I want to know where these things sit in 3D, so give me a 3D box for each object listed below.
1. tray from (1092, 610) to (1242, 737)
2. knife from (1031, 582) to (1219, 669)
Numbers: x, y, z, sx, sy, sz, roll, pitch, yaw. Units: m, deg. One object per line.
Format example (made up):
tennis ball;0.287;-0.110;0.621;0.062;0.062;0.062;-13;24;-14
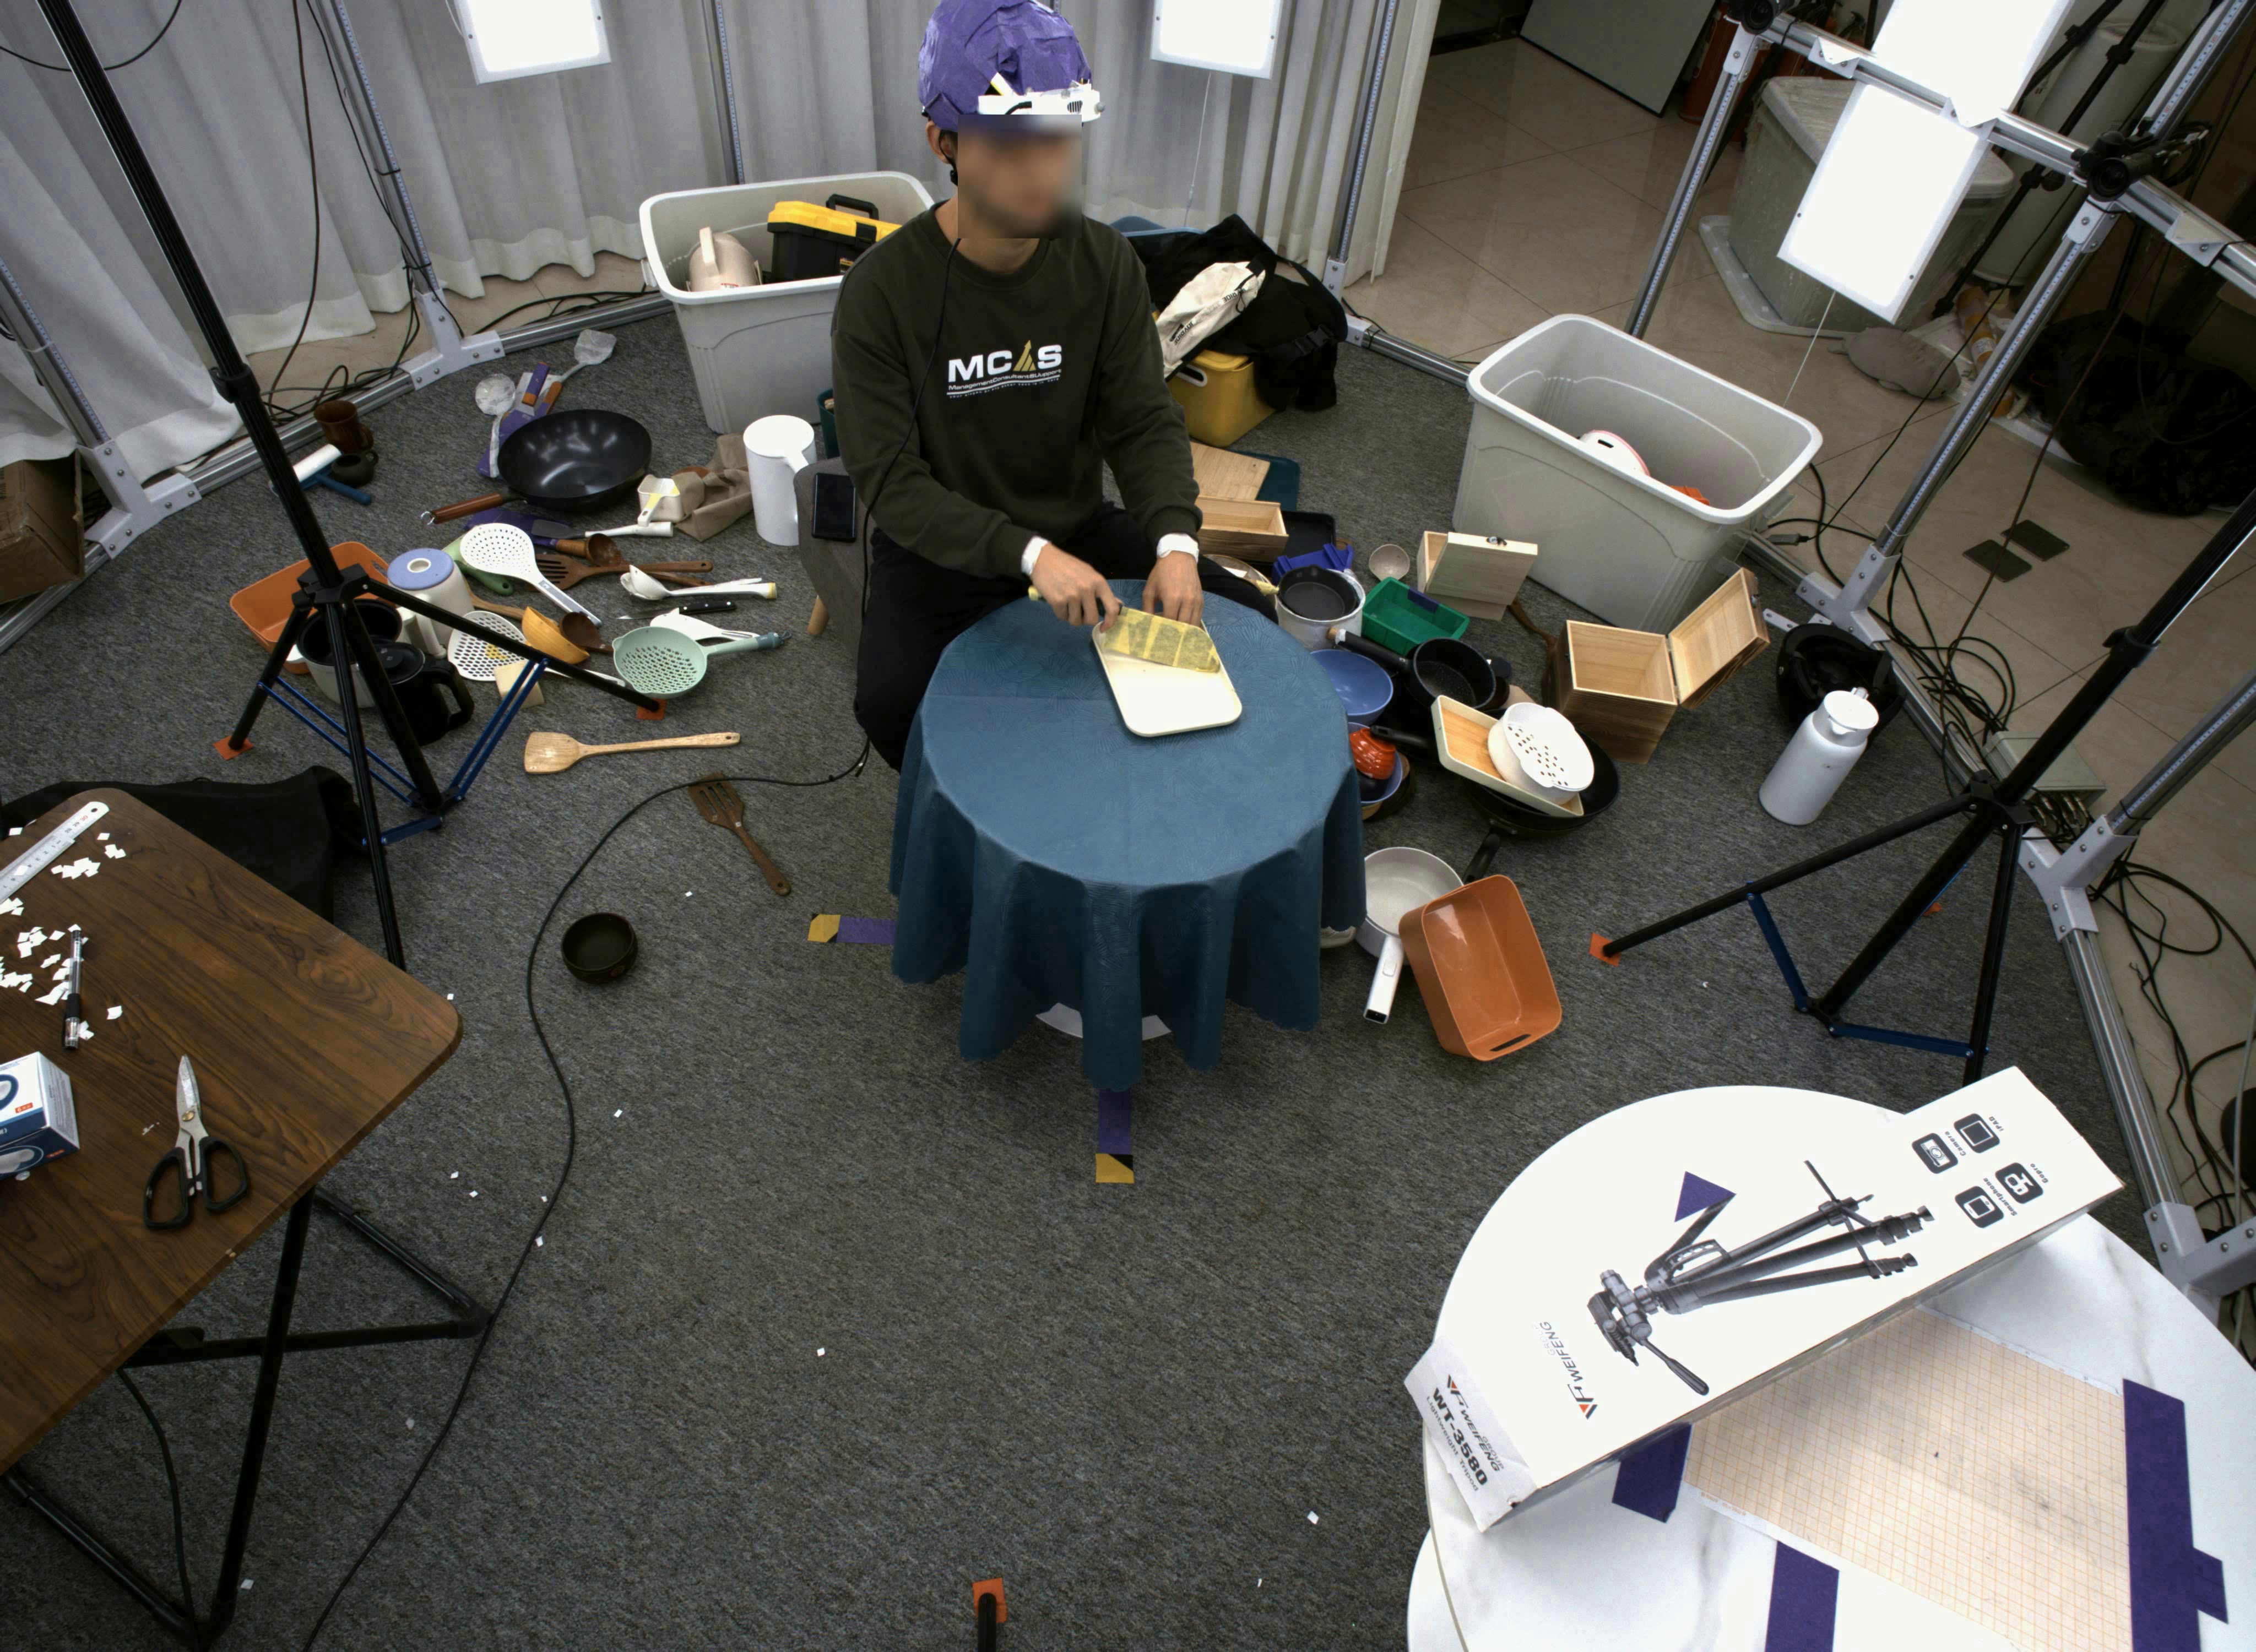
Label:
tray;0.053;-0.222;1.852;0.171;0.017;0.245;-10;50;-12
knife;-0.004;-0.288;1.849;0.289;0.079;0.028;19;33;-1
